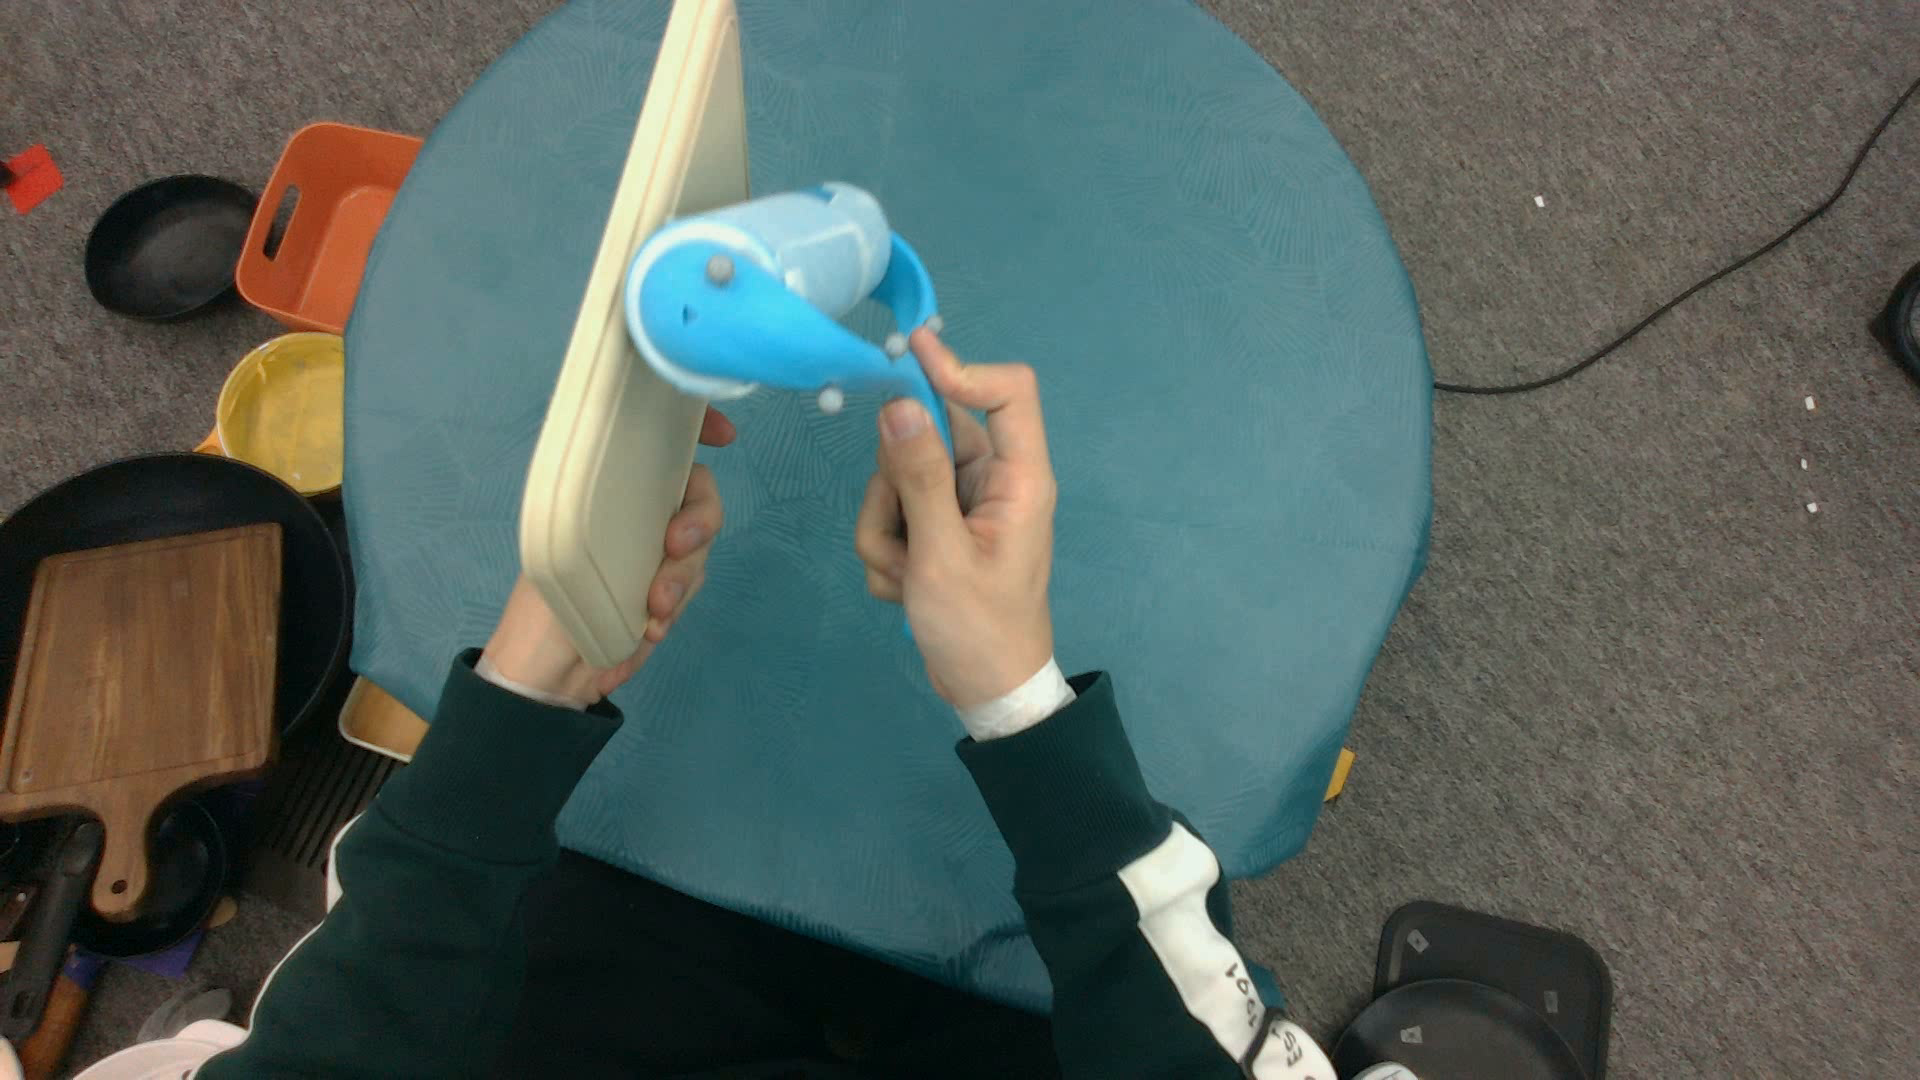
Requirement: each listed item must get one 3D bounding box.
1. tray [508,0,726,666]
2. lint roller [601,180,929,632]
[{"bbox_3d":[-0.121,-0.080,0.526,0.017,0.170,0.240,8,69,-2],"label":"tray"},{"bbox_3d":[-0.047,-0.053,0.534,0.068,0.229,0.180,-29,106,12],"label":"lint roller"}]
